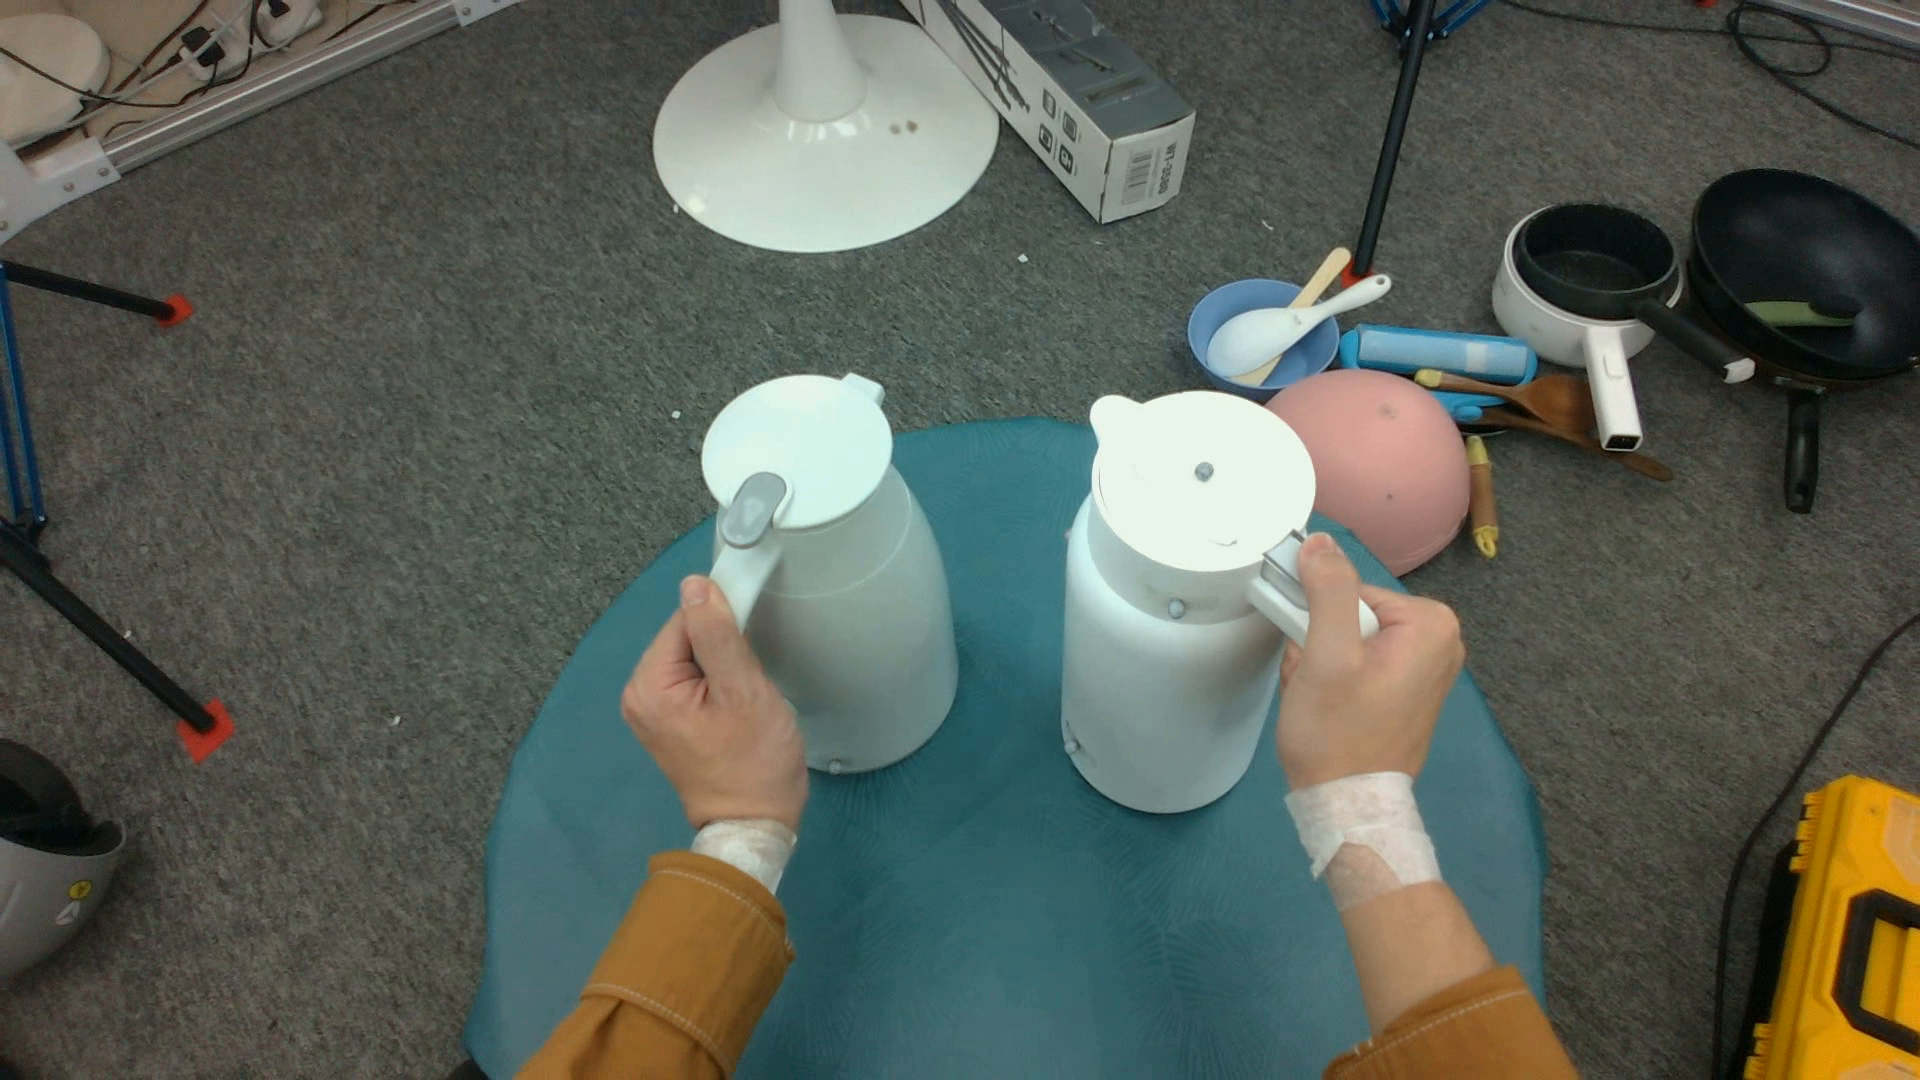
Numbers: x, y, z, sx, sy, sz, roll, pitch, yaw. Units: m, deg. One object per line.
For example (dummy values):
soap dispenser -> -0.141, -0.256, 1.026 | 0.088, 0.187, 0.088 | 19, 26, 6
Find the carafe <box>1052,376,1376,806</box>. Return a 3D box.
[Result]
carafe -> 0.121, 0.047, 0.711 | 0.124, 0.267, 0.173 | -36, 63, -21

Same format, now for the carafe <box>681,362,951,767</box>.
carafe -> -0.085, 0.029, 0.742 | 0.132, 0.247, 0.168 | 22, 61, 16
